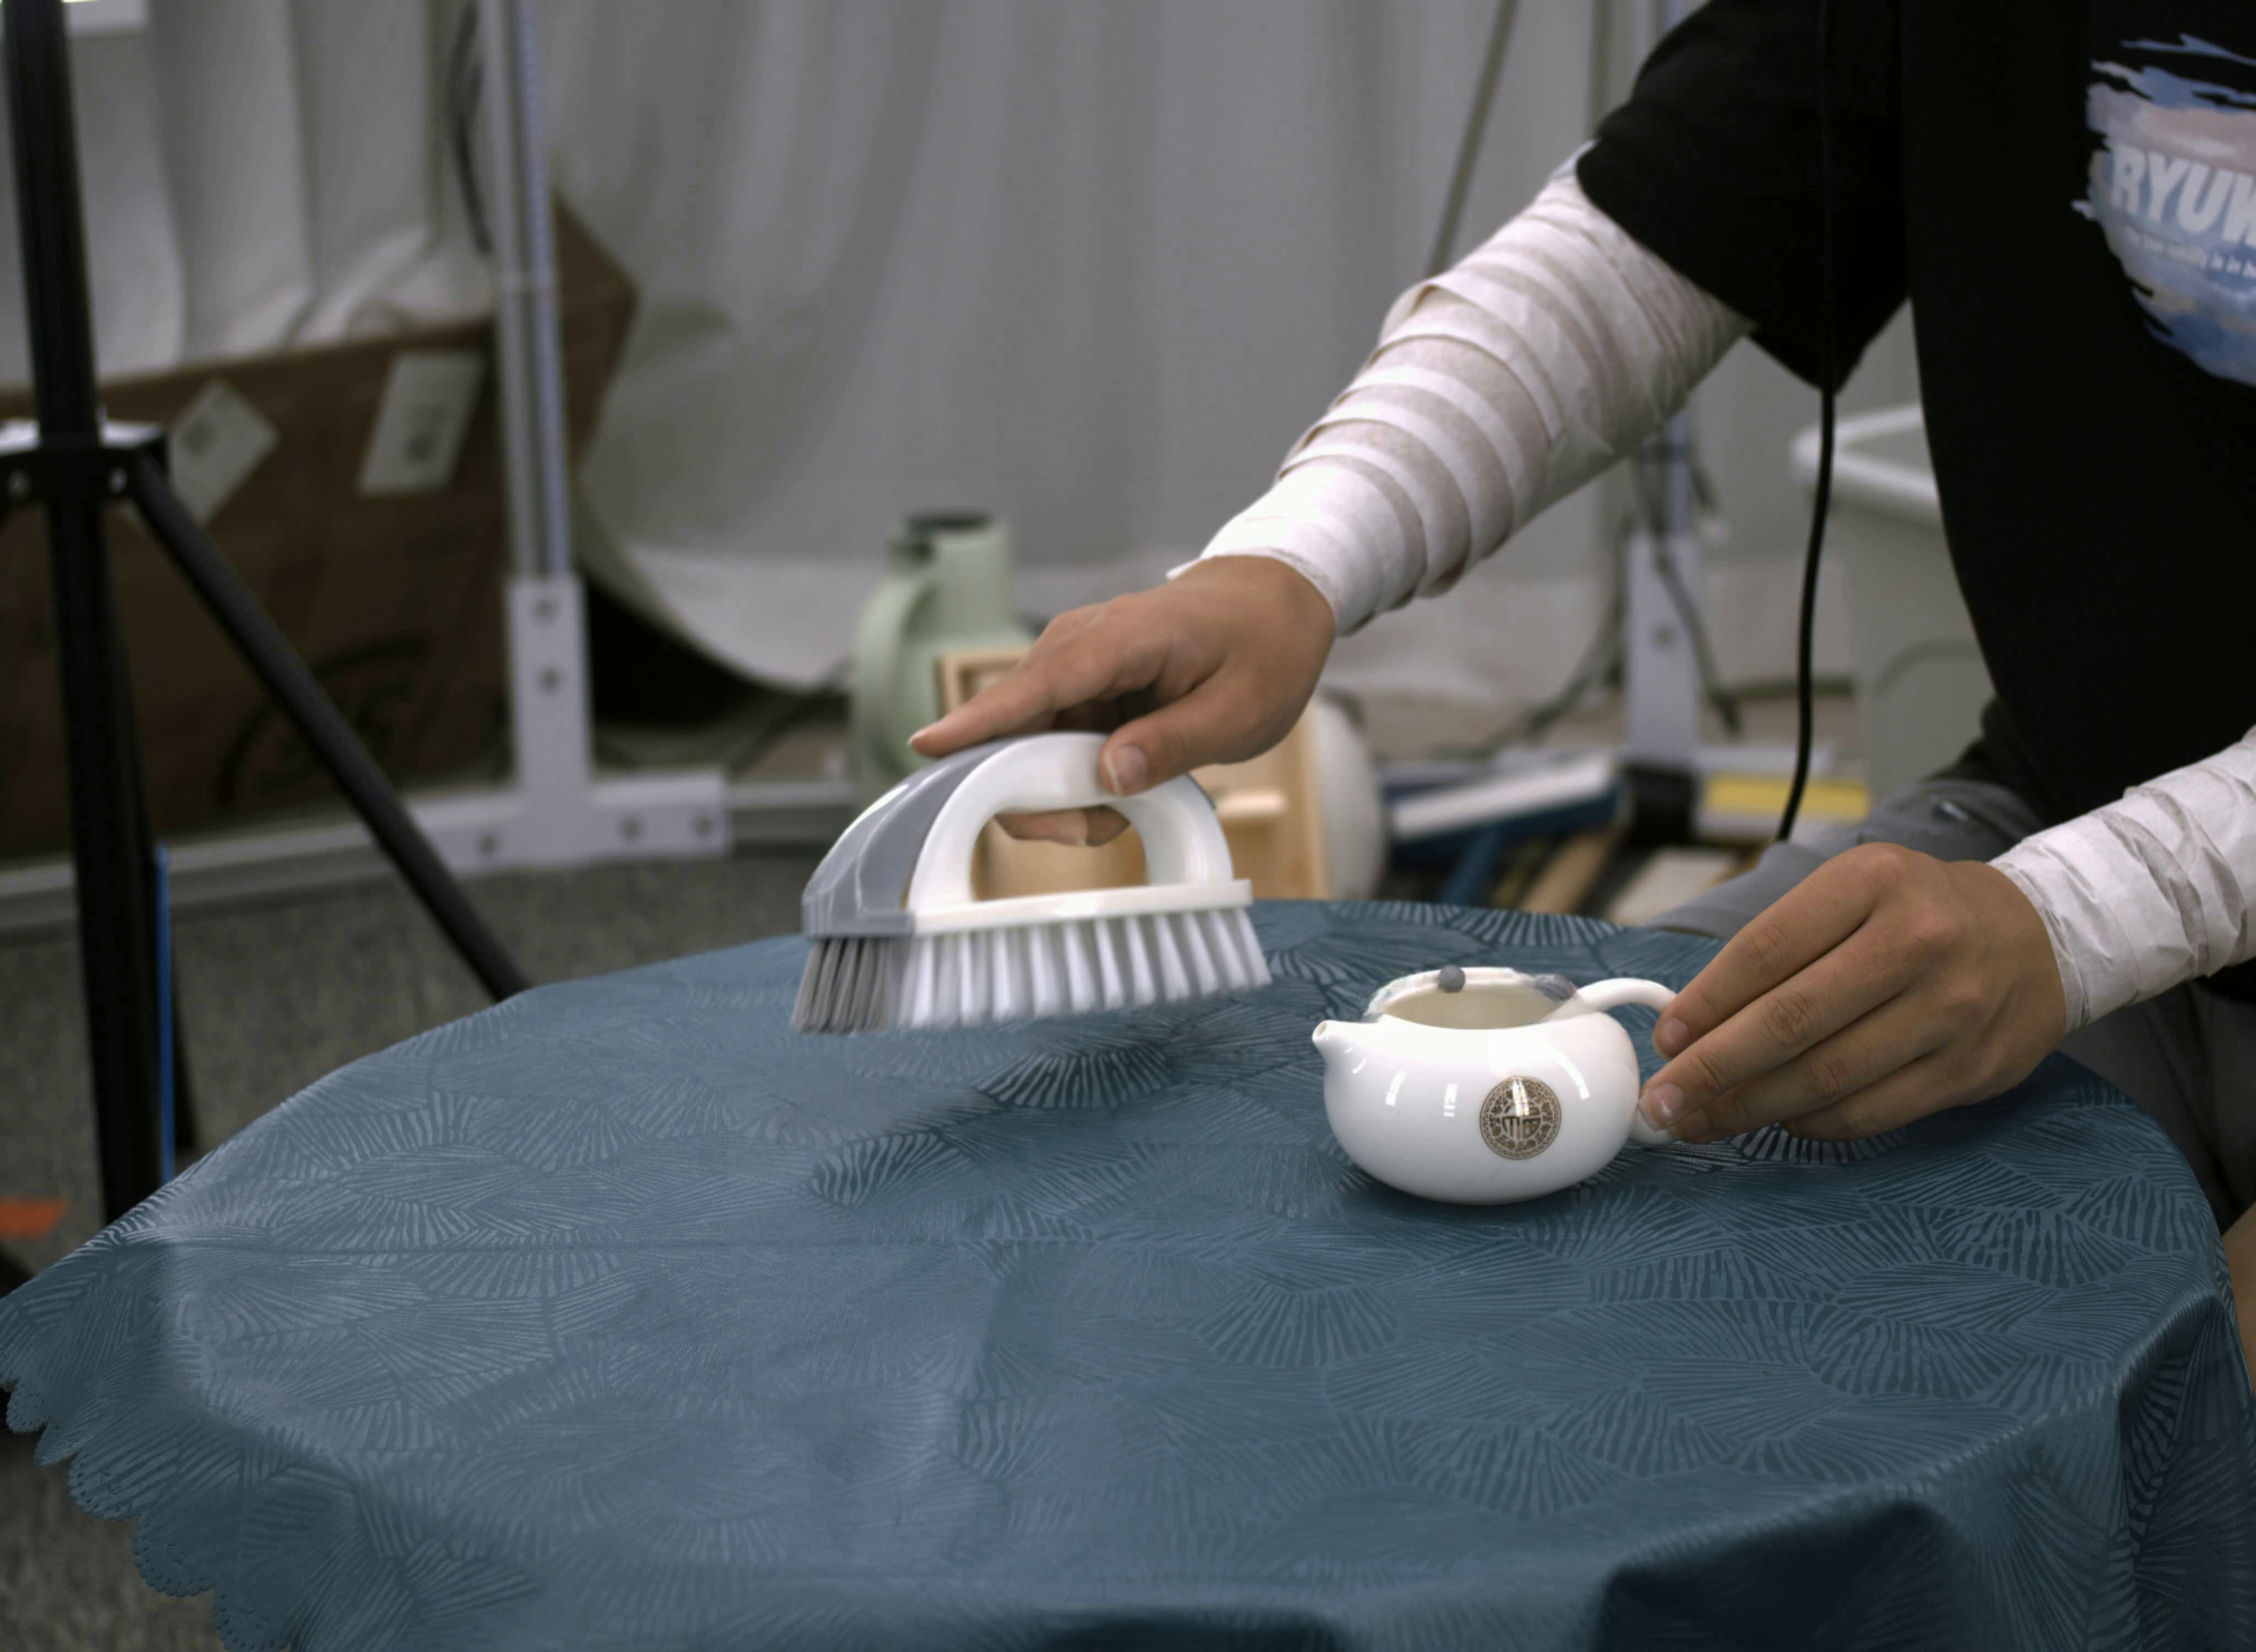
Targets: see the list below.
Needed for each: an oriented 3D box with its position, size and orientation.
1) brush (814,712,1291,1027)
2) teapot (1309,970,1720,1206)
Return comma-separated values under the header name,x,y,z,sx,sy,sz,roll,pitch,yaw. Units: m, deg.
name,x,y,z,sx,sy,sz,roll,pitch,yaw
brush,-0.032,0.013,1.642,0.171,0.095,0.062,-5,-9,-40
teapot,0.114,0.076,1.556,0.125,0.057,0.095,-6,13,-17
